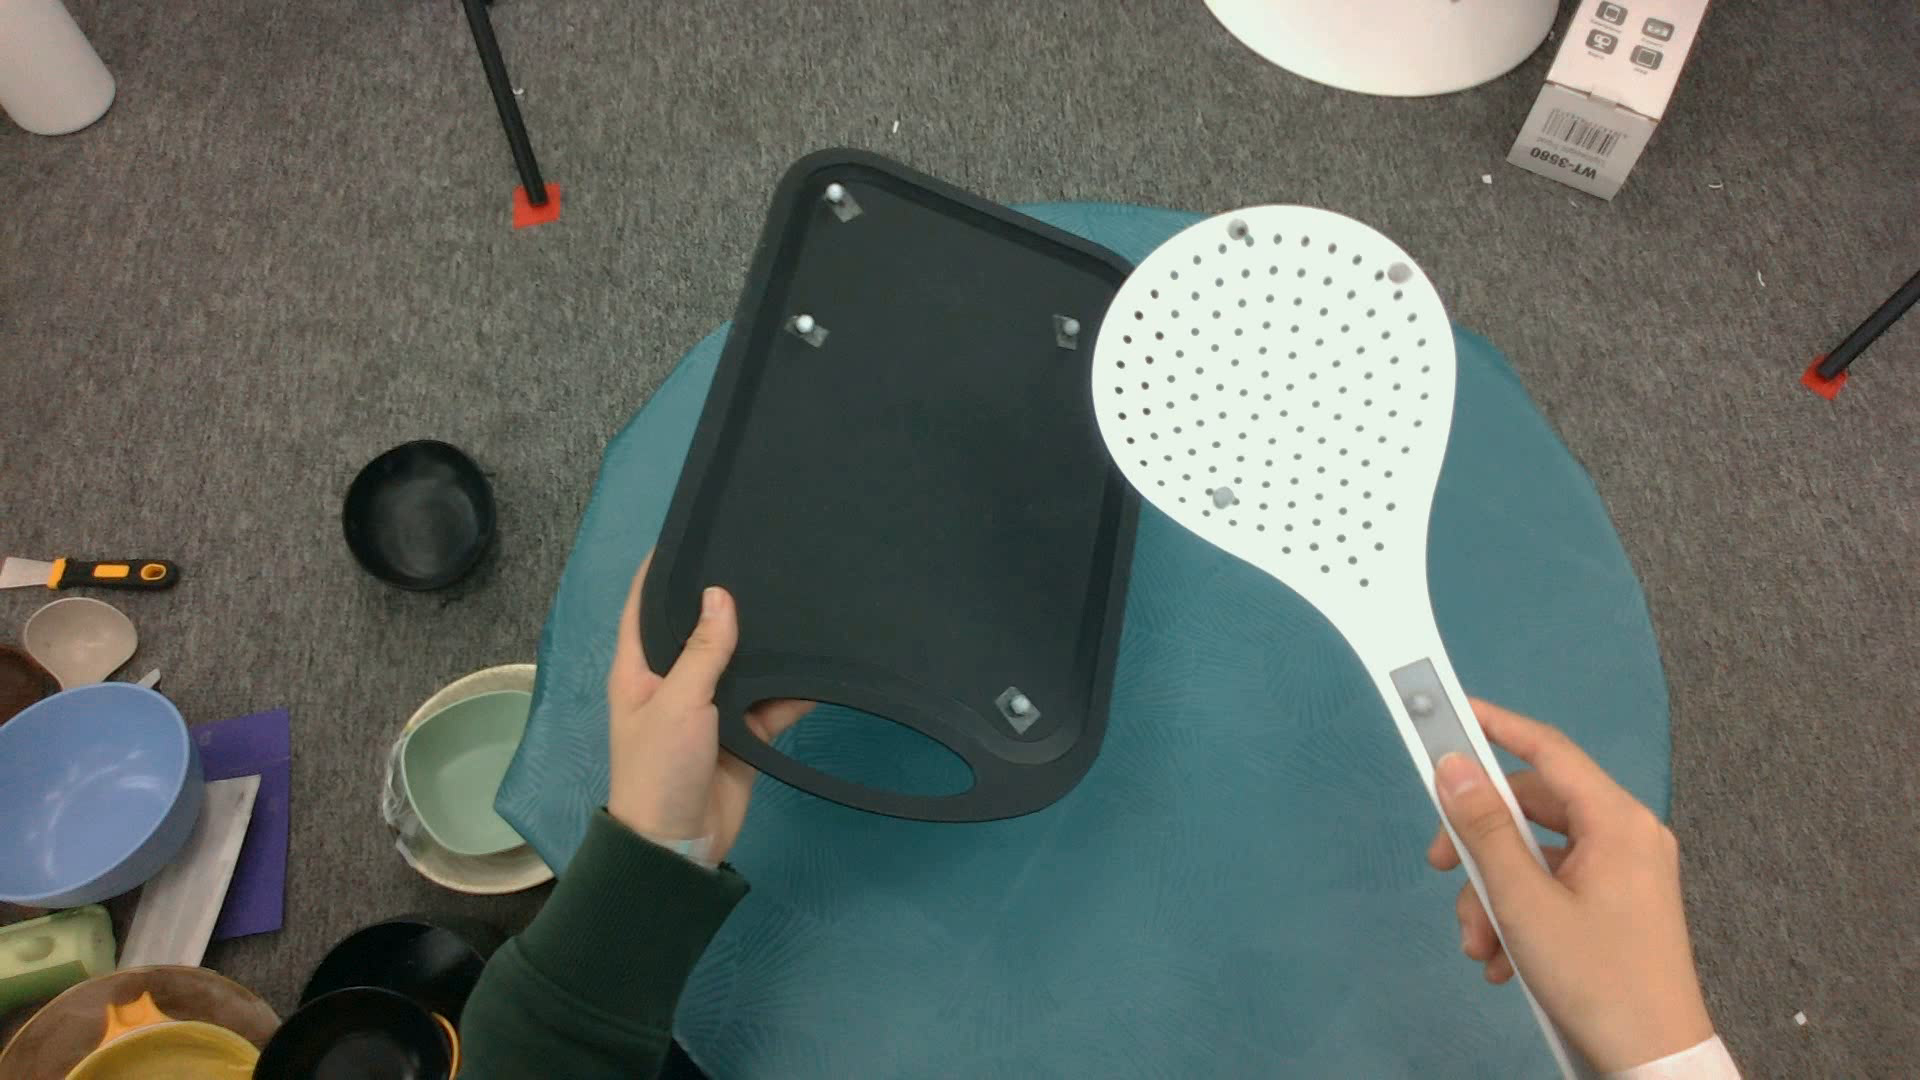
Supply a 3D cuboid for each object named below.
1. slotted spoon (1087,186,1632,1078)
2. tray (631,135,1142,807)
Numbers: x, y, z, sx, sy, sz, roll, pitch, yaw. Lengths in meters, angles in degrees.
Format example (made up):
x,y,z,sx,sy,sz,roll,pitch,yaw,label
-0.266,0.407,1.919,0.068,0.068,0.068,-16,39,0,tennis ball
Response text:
x,y,z,sx,sy,sz,roll,pitch,yaw,label
0.158,0.025,0.518,0.136,0.046,0.350,-24,72,9,slotted spoon
-0.016,-0.040,0.630,0.211,0.010,0.327,19,62,-12,tray
